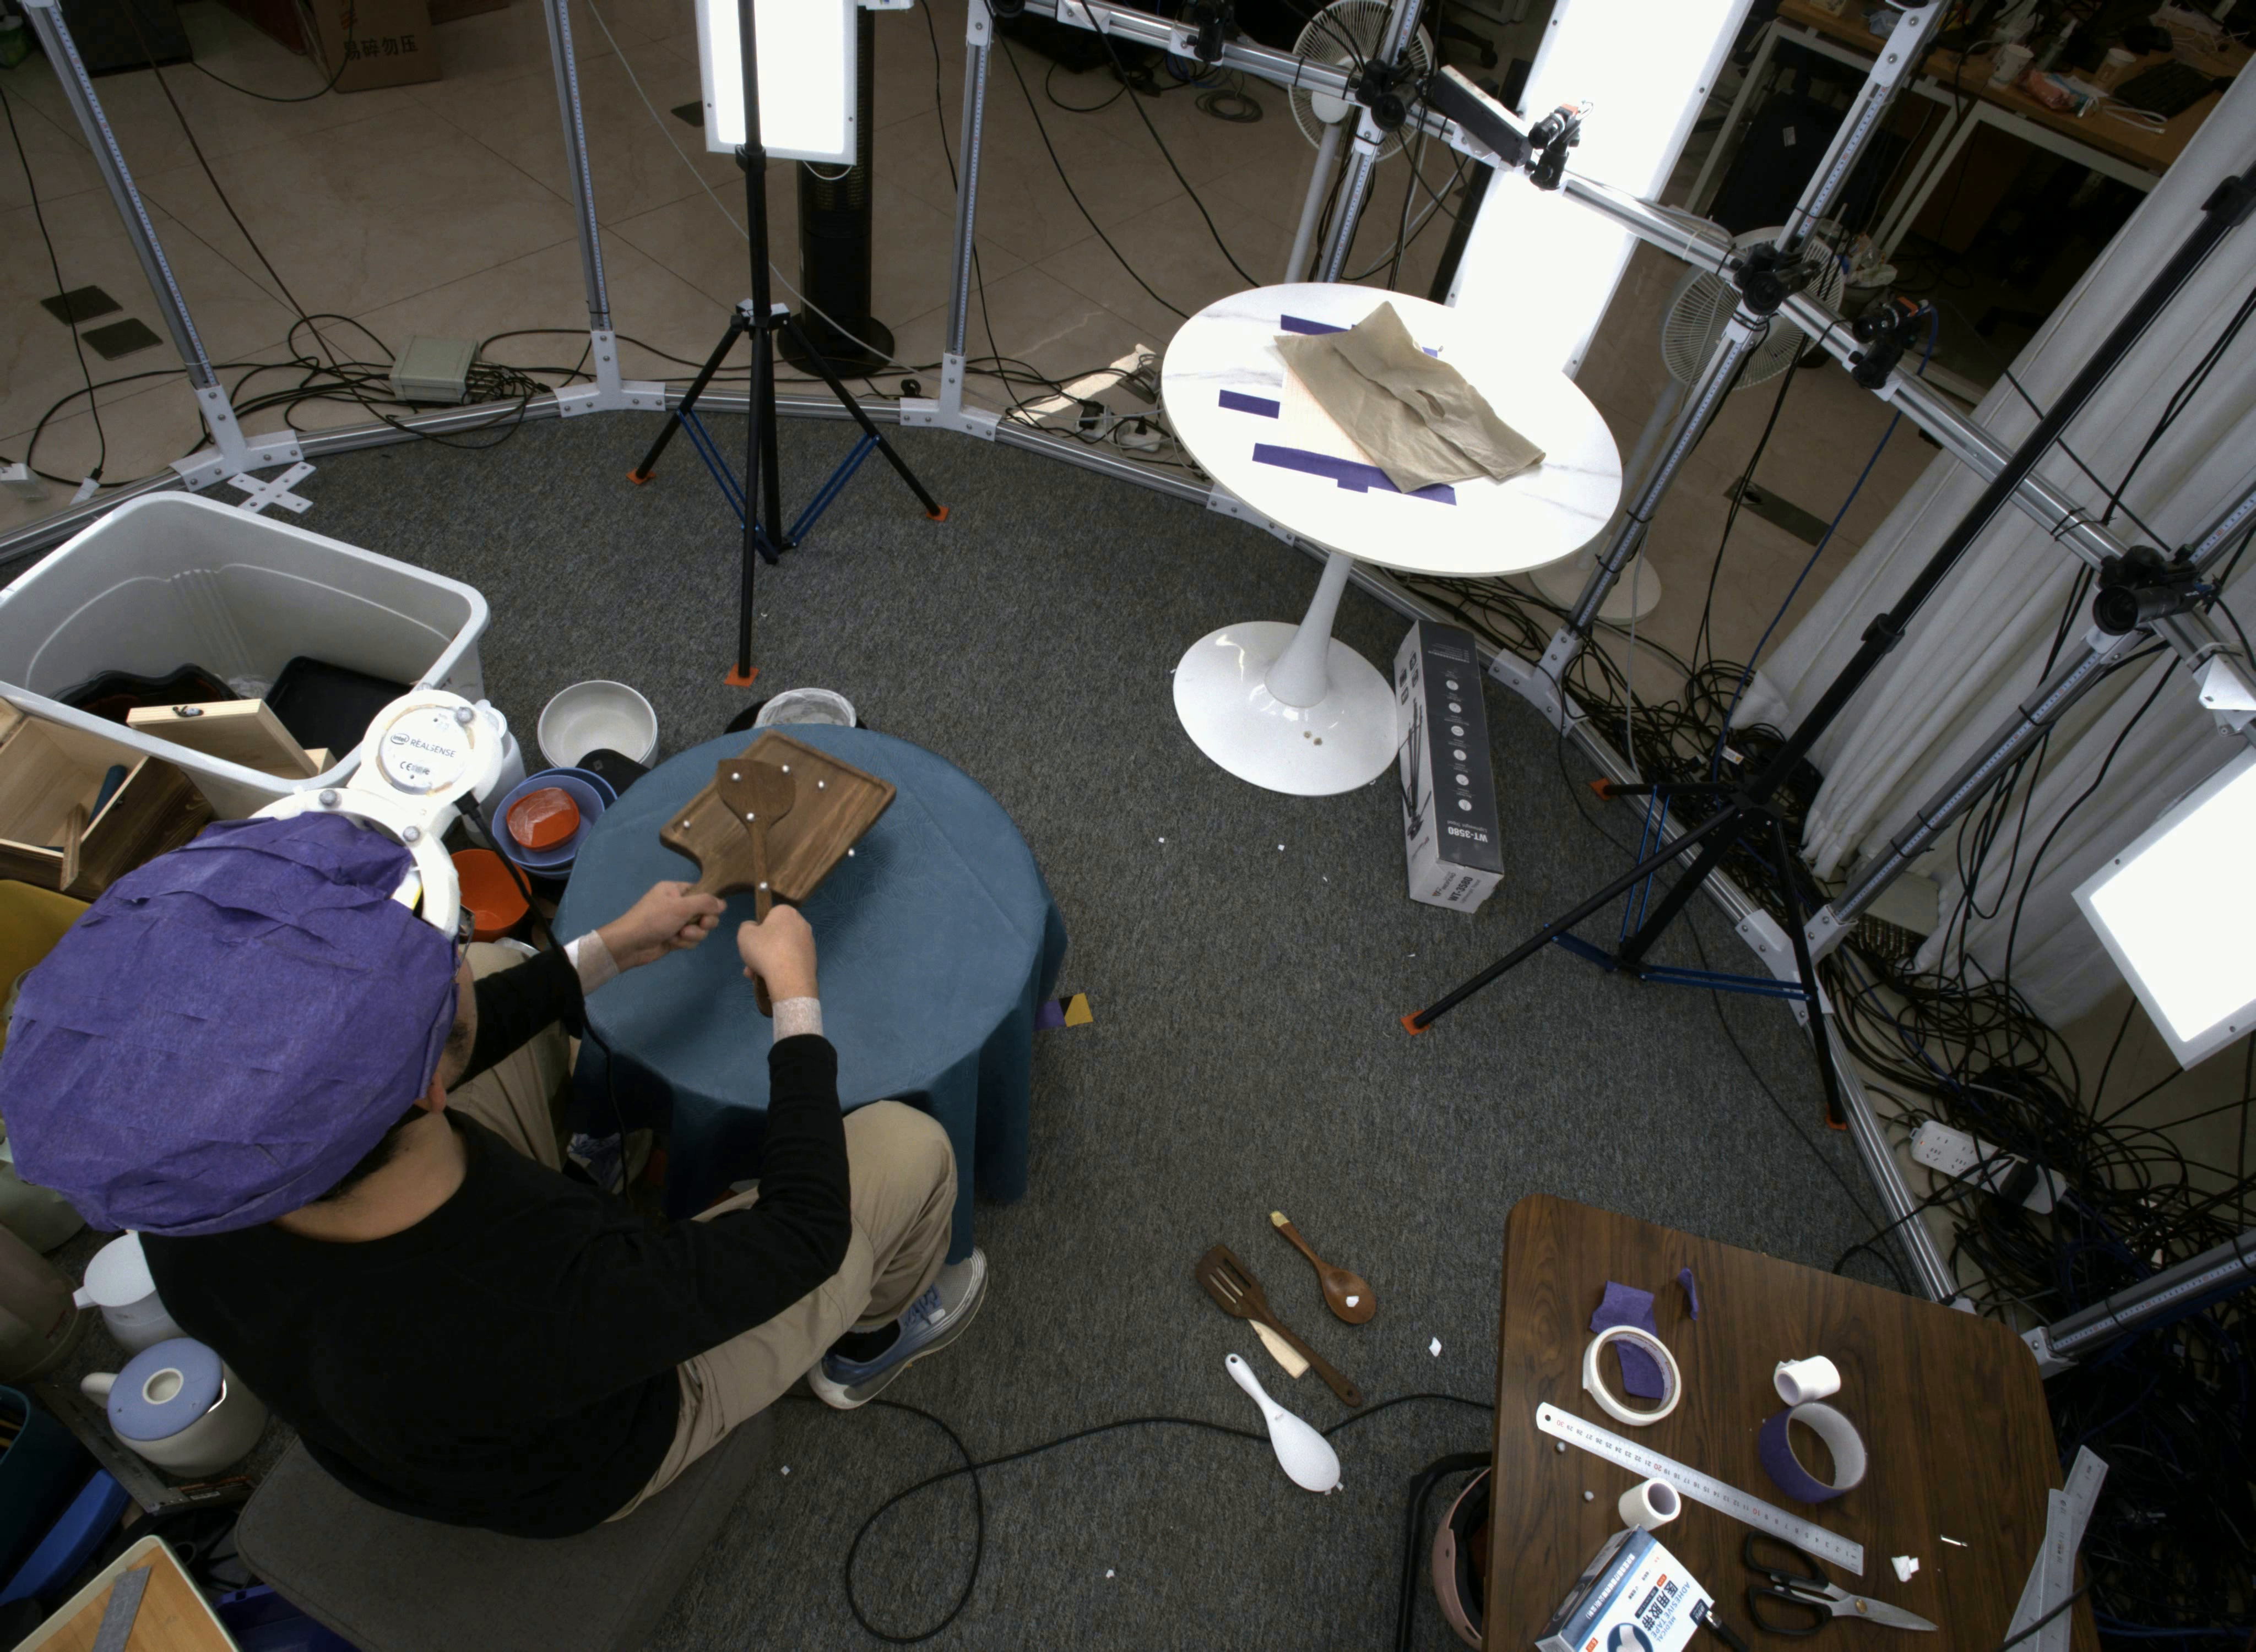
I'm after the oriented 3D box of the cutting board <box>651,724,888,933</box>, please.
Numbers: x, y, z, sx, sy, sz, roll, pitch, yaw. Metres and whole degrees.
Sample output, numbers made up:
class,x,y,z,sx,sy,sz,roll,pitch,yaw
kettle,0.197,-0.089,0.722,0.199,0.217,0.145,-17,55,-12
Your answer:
class,x,y,z,sx,sy,sz,roll,pitch,yaw
cutting board,-0.452,0.007,1.561,0.199,0.023,0.349,25,41,3

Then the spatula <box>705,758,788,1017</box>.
class,x,y,z,sx,sy,sz,roll,pitch,yaw
spatula,-0.405,0.052,1.401,0.097,0.016,0.374,8,40,-28
